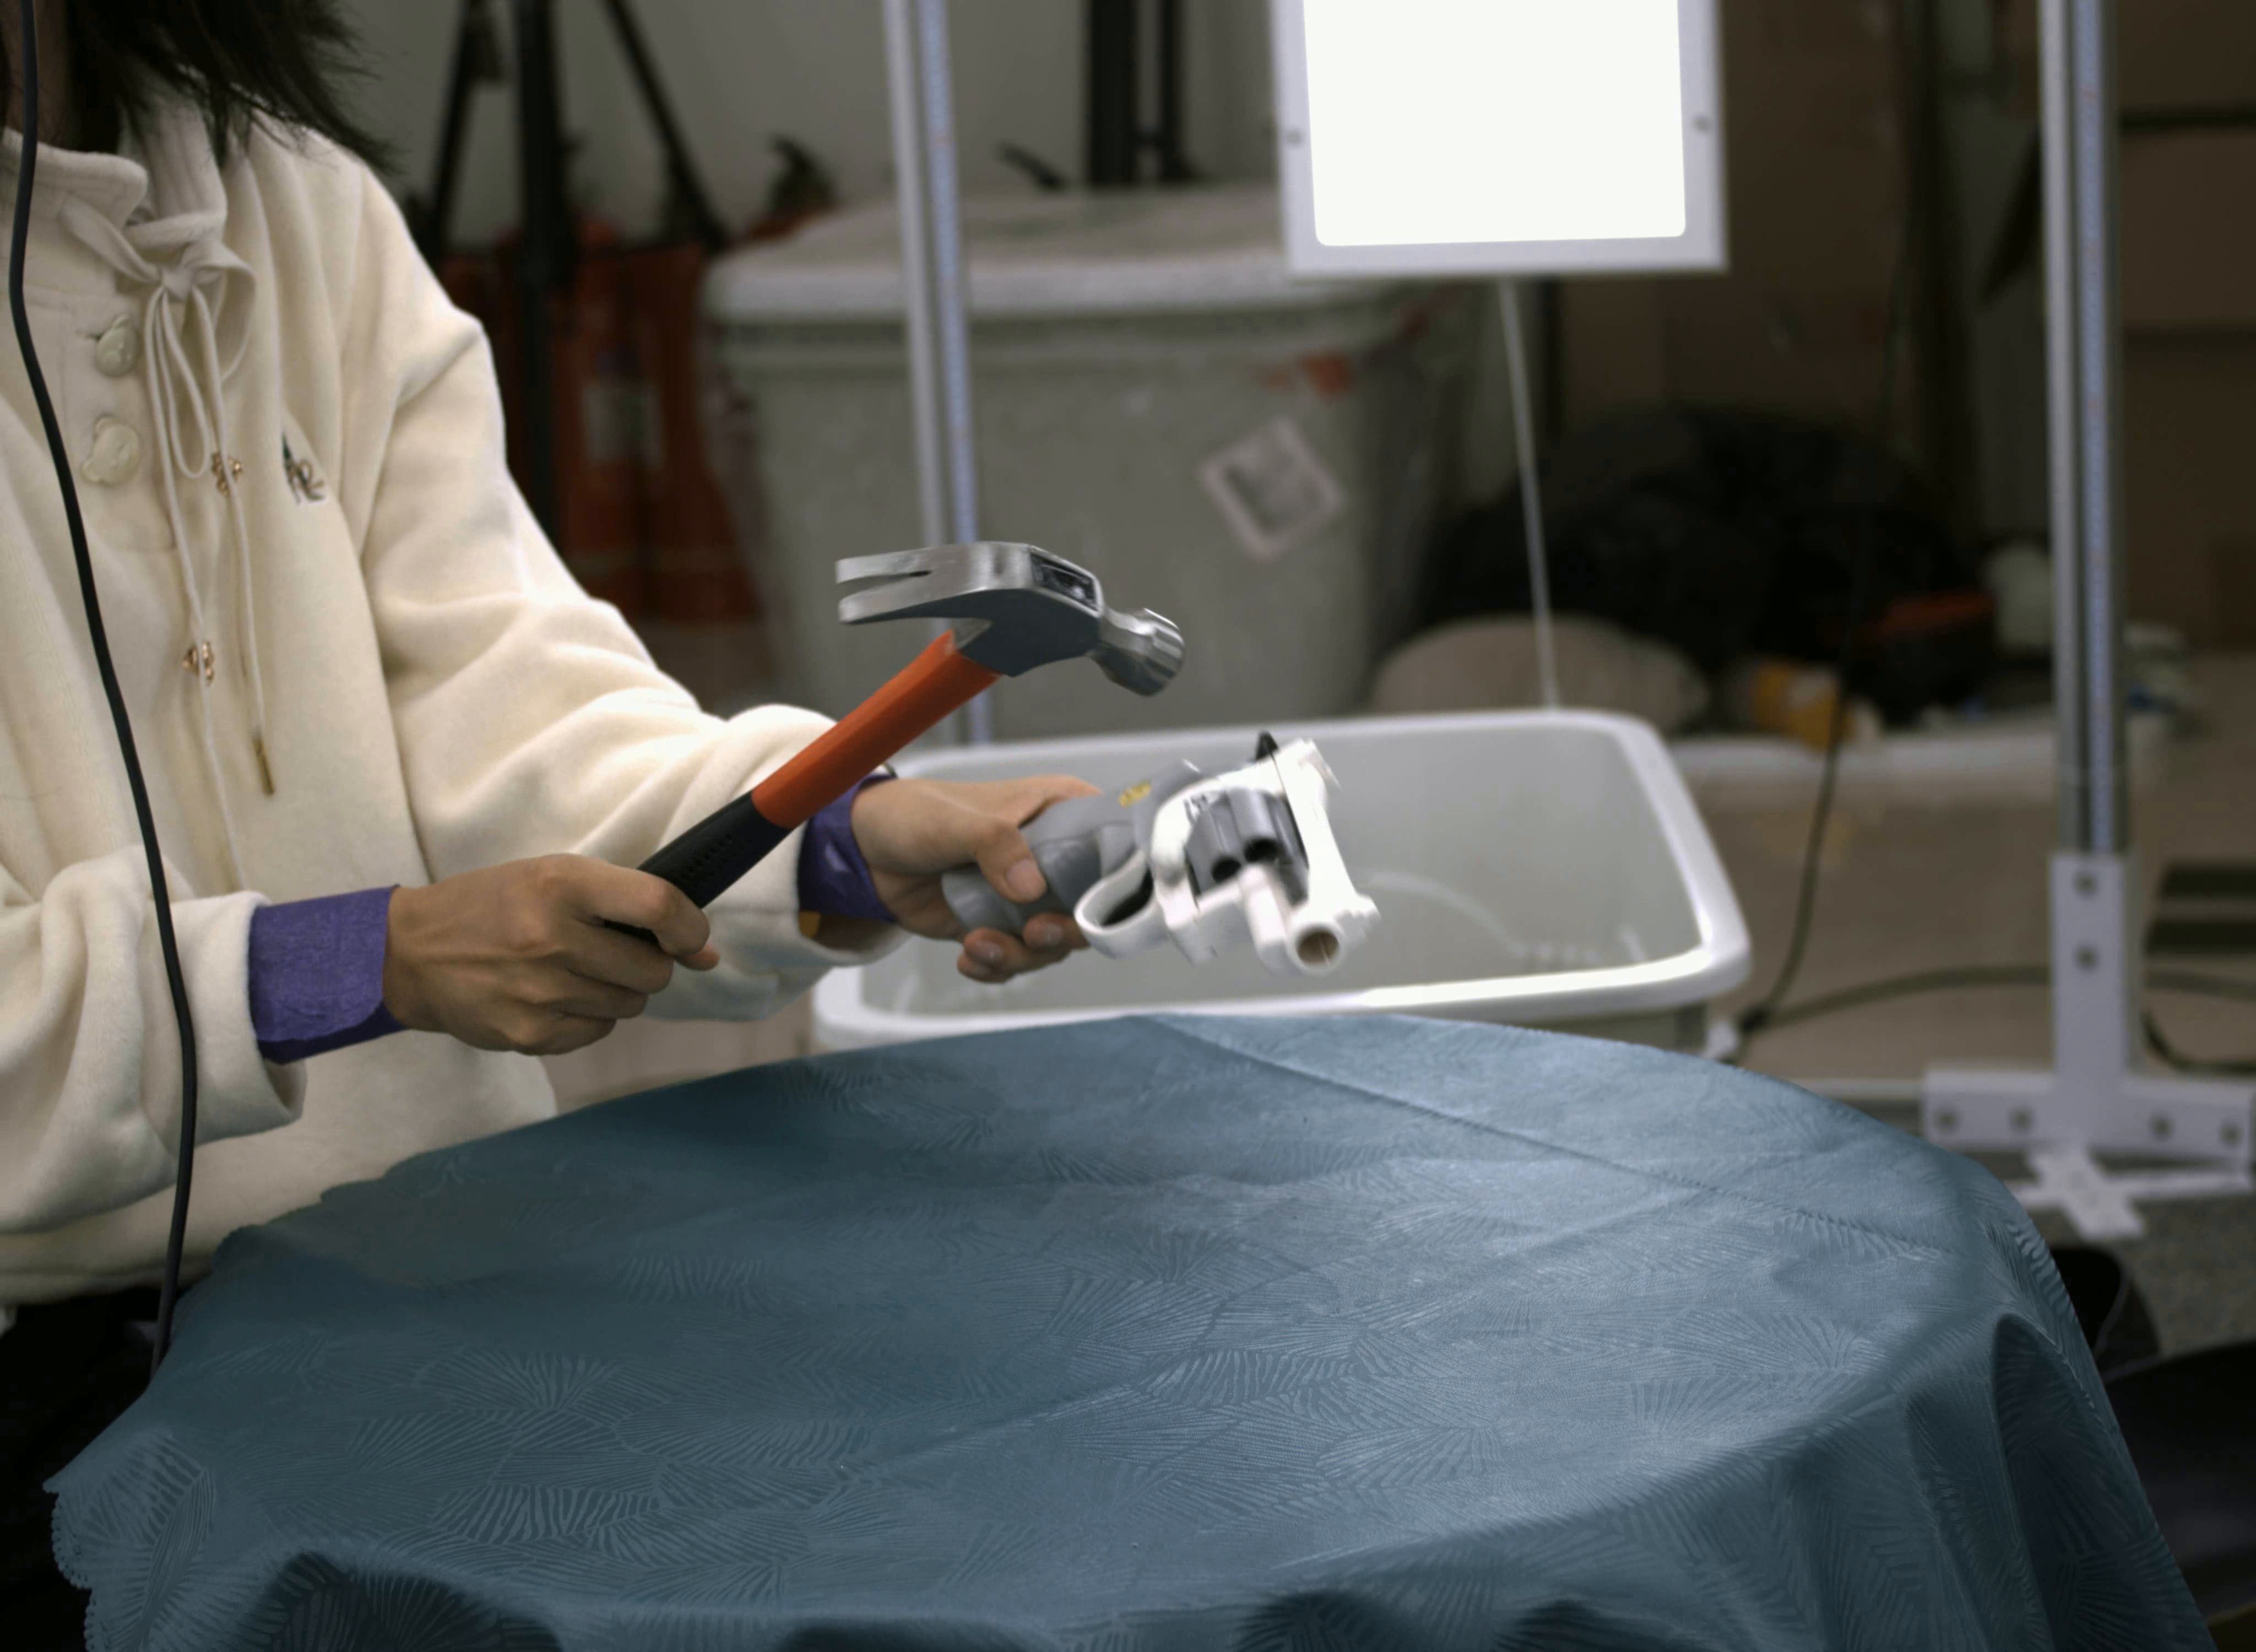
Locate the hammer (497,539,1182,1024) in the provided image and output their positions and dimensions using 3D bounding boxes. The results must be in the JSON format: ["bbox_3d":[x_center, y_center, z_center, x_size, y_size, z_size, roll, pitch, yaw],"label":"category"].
[{"bbox_3d":[-0.113,-0.011,1.810,0.108,0.026,0.283,17,-42,-42],"label":"hammer"}]

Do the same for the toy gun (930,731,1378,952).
[{"bbox_3d":[0.007,0.018,1.843,0.142,0.038,0.209,-31,21,5],"label":"toy gun"}]
